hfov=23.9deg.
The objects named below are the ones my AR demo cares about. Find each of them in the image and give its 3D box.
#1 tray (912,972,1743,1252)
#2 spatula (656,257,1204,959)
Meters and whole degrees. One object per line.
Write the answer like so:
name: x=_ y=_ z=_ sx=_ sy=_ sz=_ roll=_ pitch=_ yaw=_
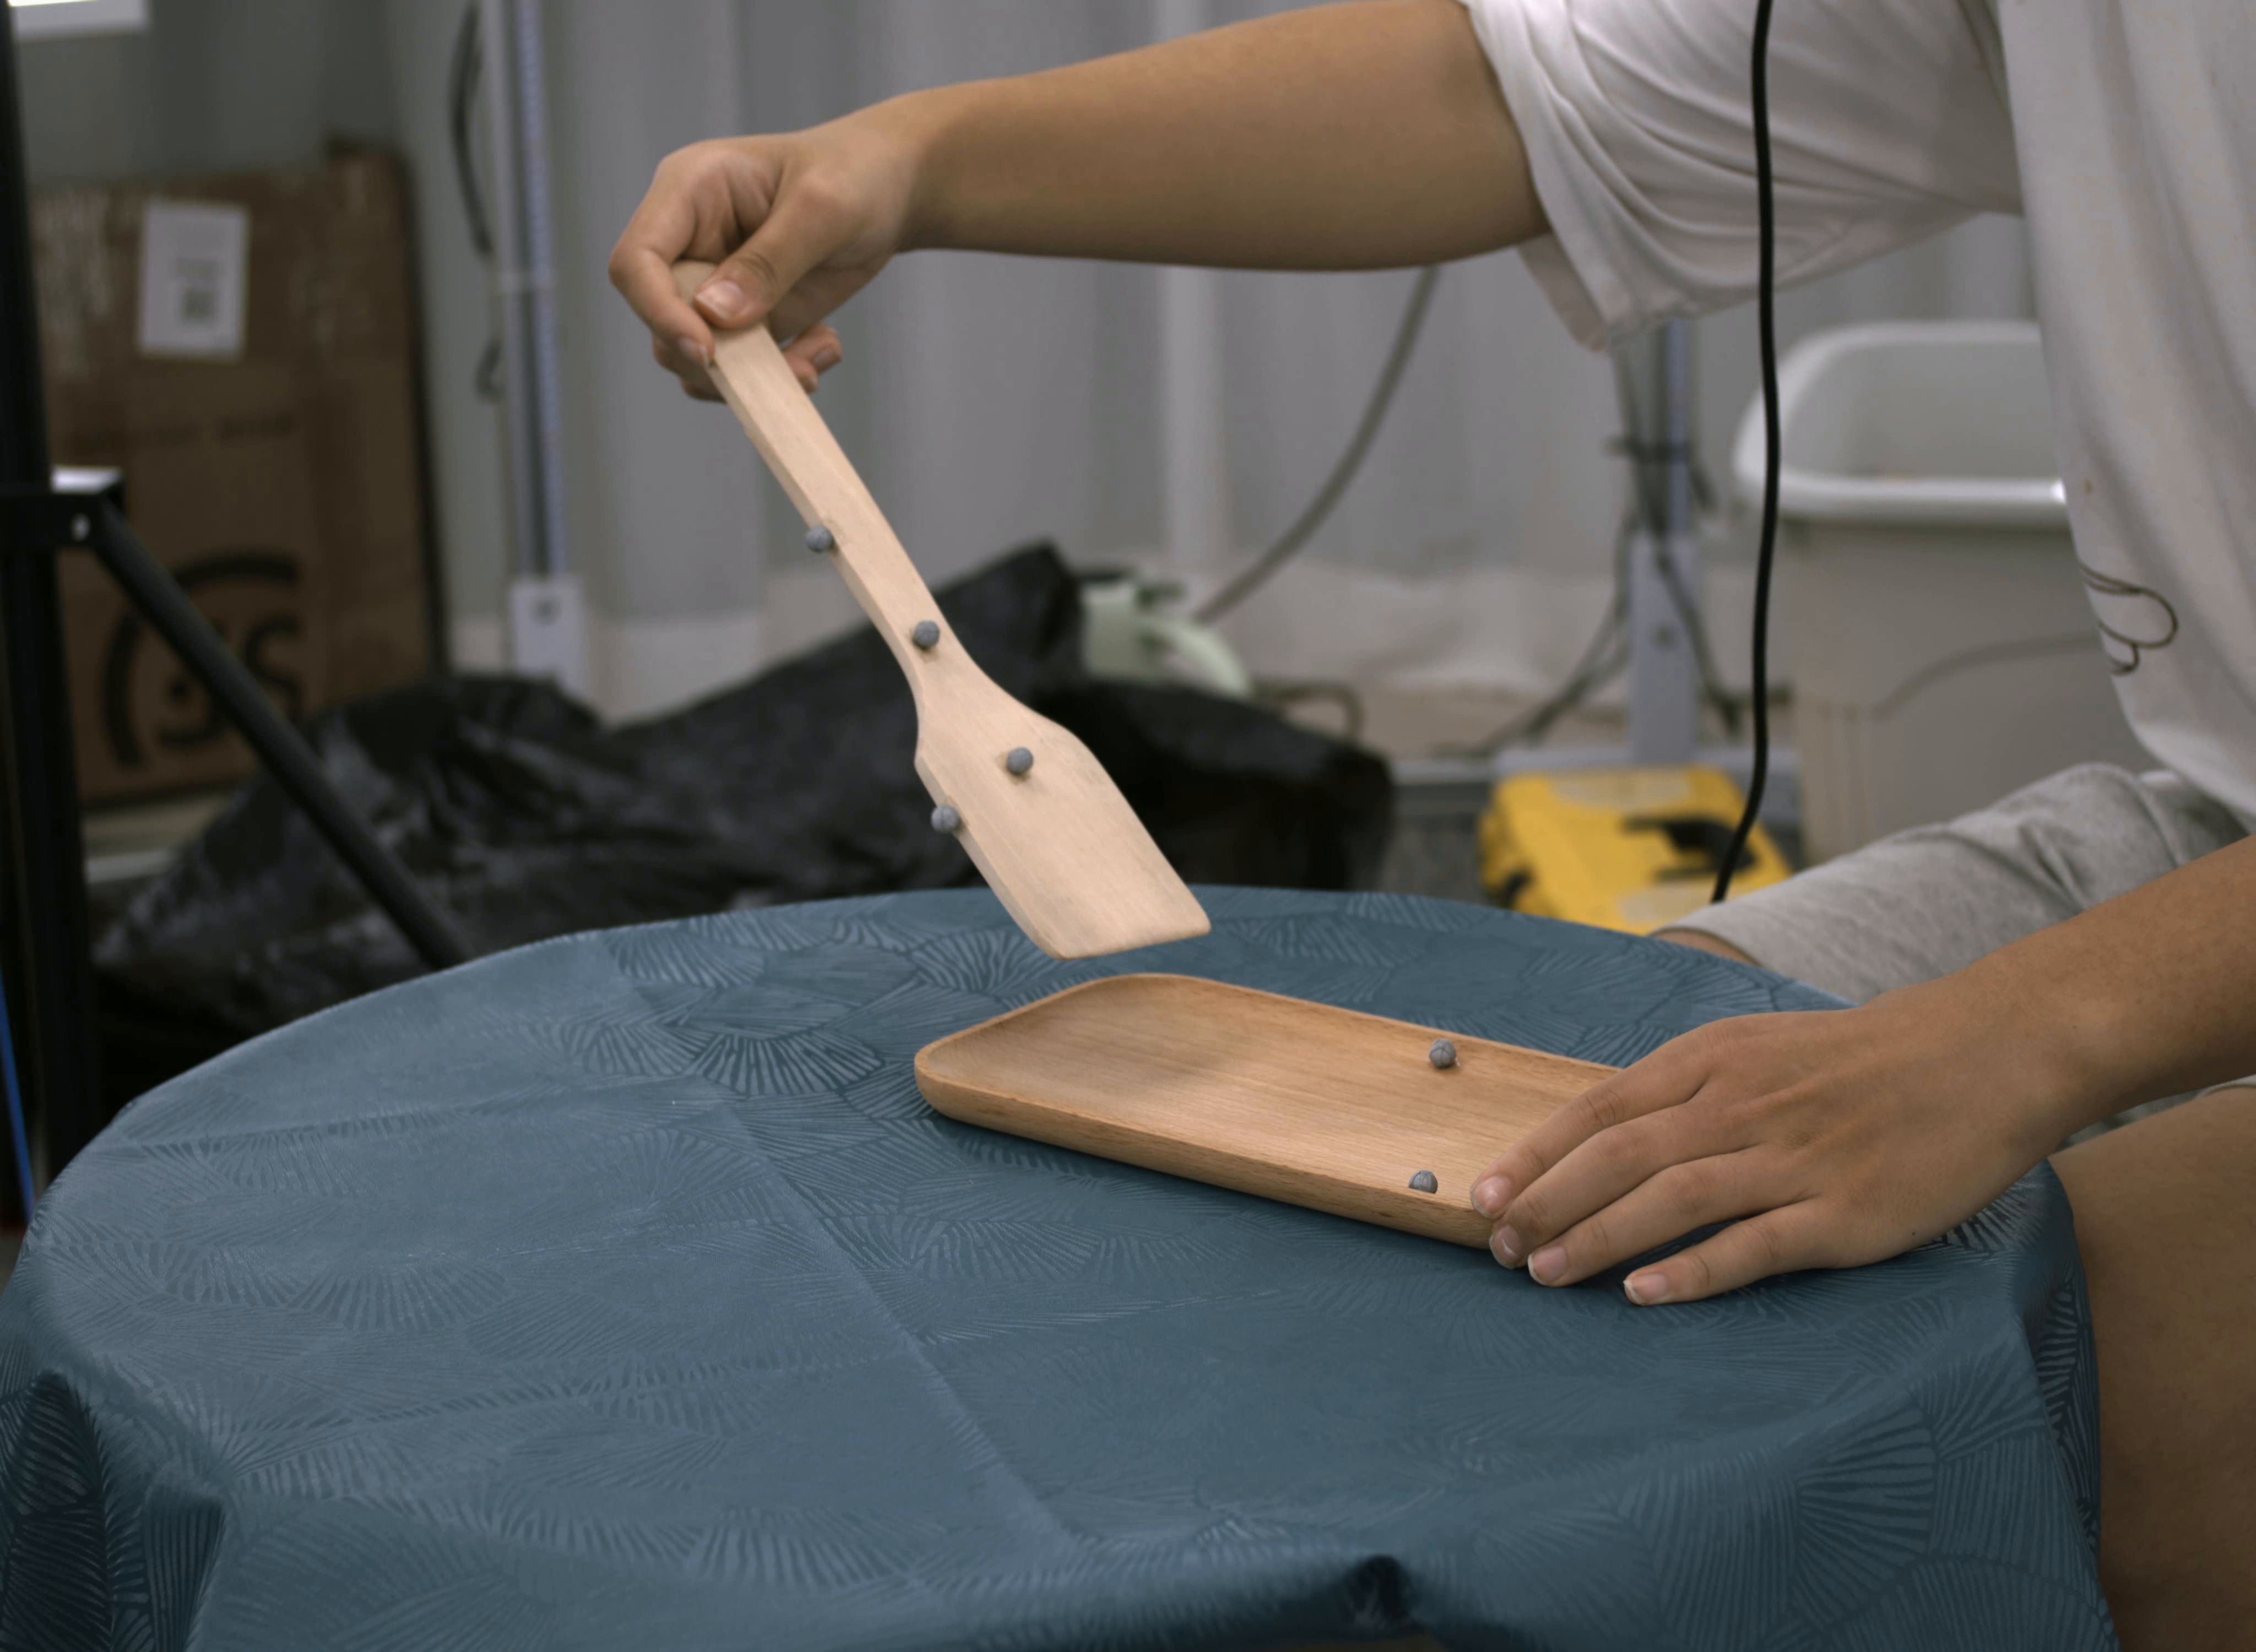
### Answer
tray: x=0.058 y=0.085 z=1.606 sx=0.256 sy=0.023 sz=0.127 roll=10 pitch=18 yaw=41
spatula: x=-0.074 y=-0.073 z=1.702 sx=0.070 sy=0.011 sz=0.298 roll=-9 pitch=56 yaw=-42
